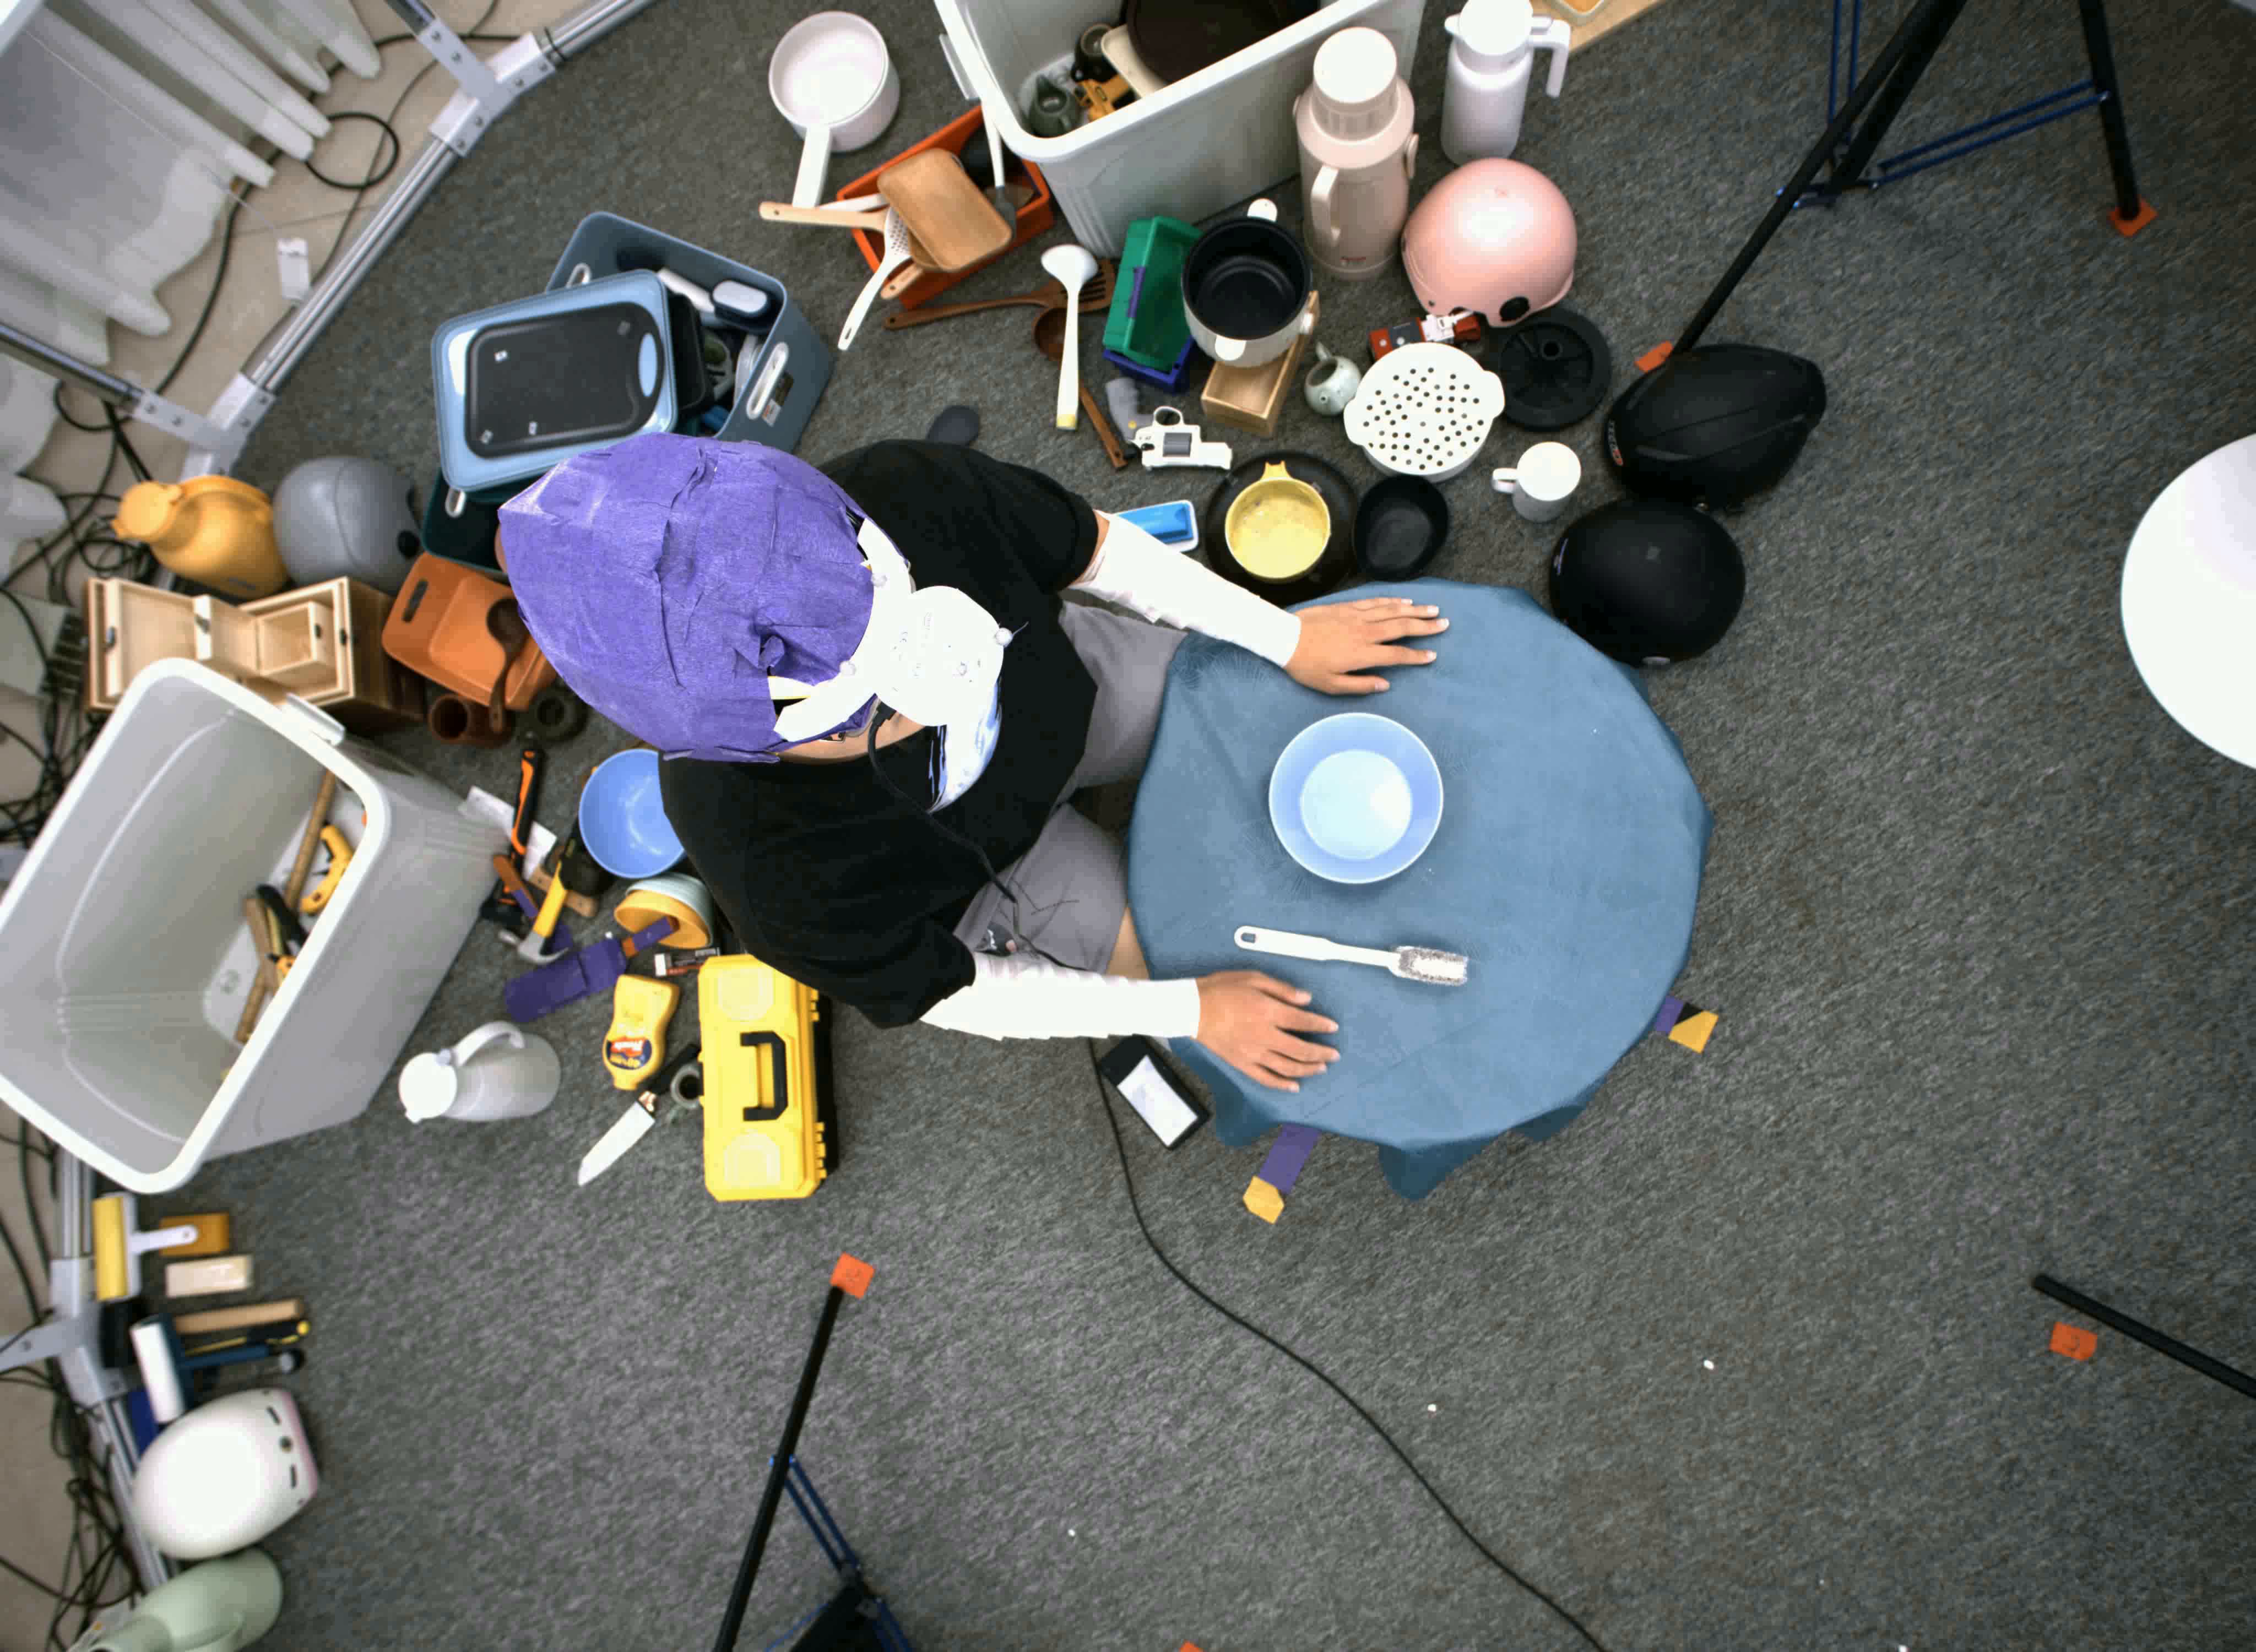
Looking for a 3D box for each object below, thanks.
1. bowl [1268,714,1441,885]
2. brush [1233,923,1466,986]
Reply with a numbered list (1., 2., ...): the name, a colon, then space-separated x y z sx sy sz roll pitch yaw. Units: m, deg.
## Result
1. bowl: 0.236 -0.025 1.434 0.177 0.070 0.175 -1 86 11
2. brush: 0.228 0.129 1.438 0.244 0.050 0.034 9 85 10
